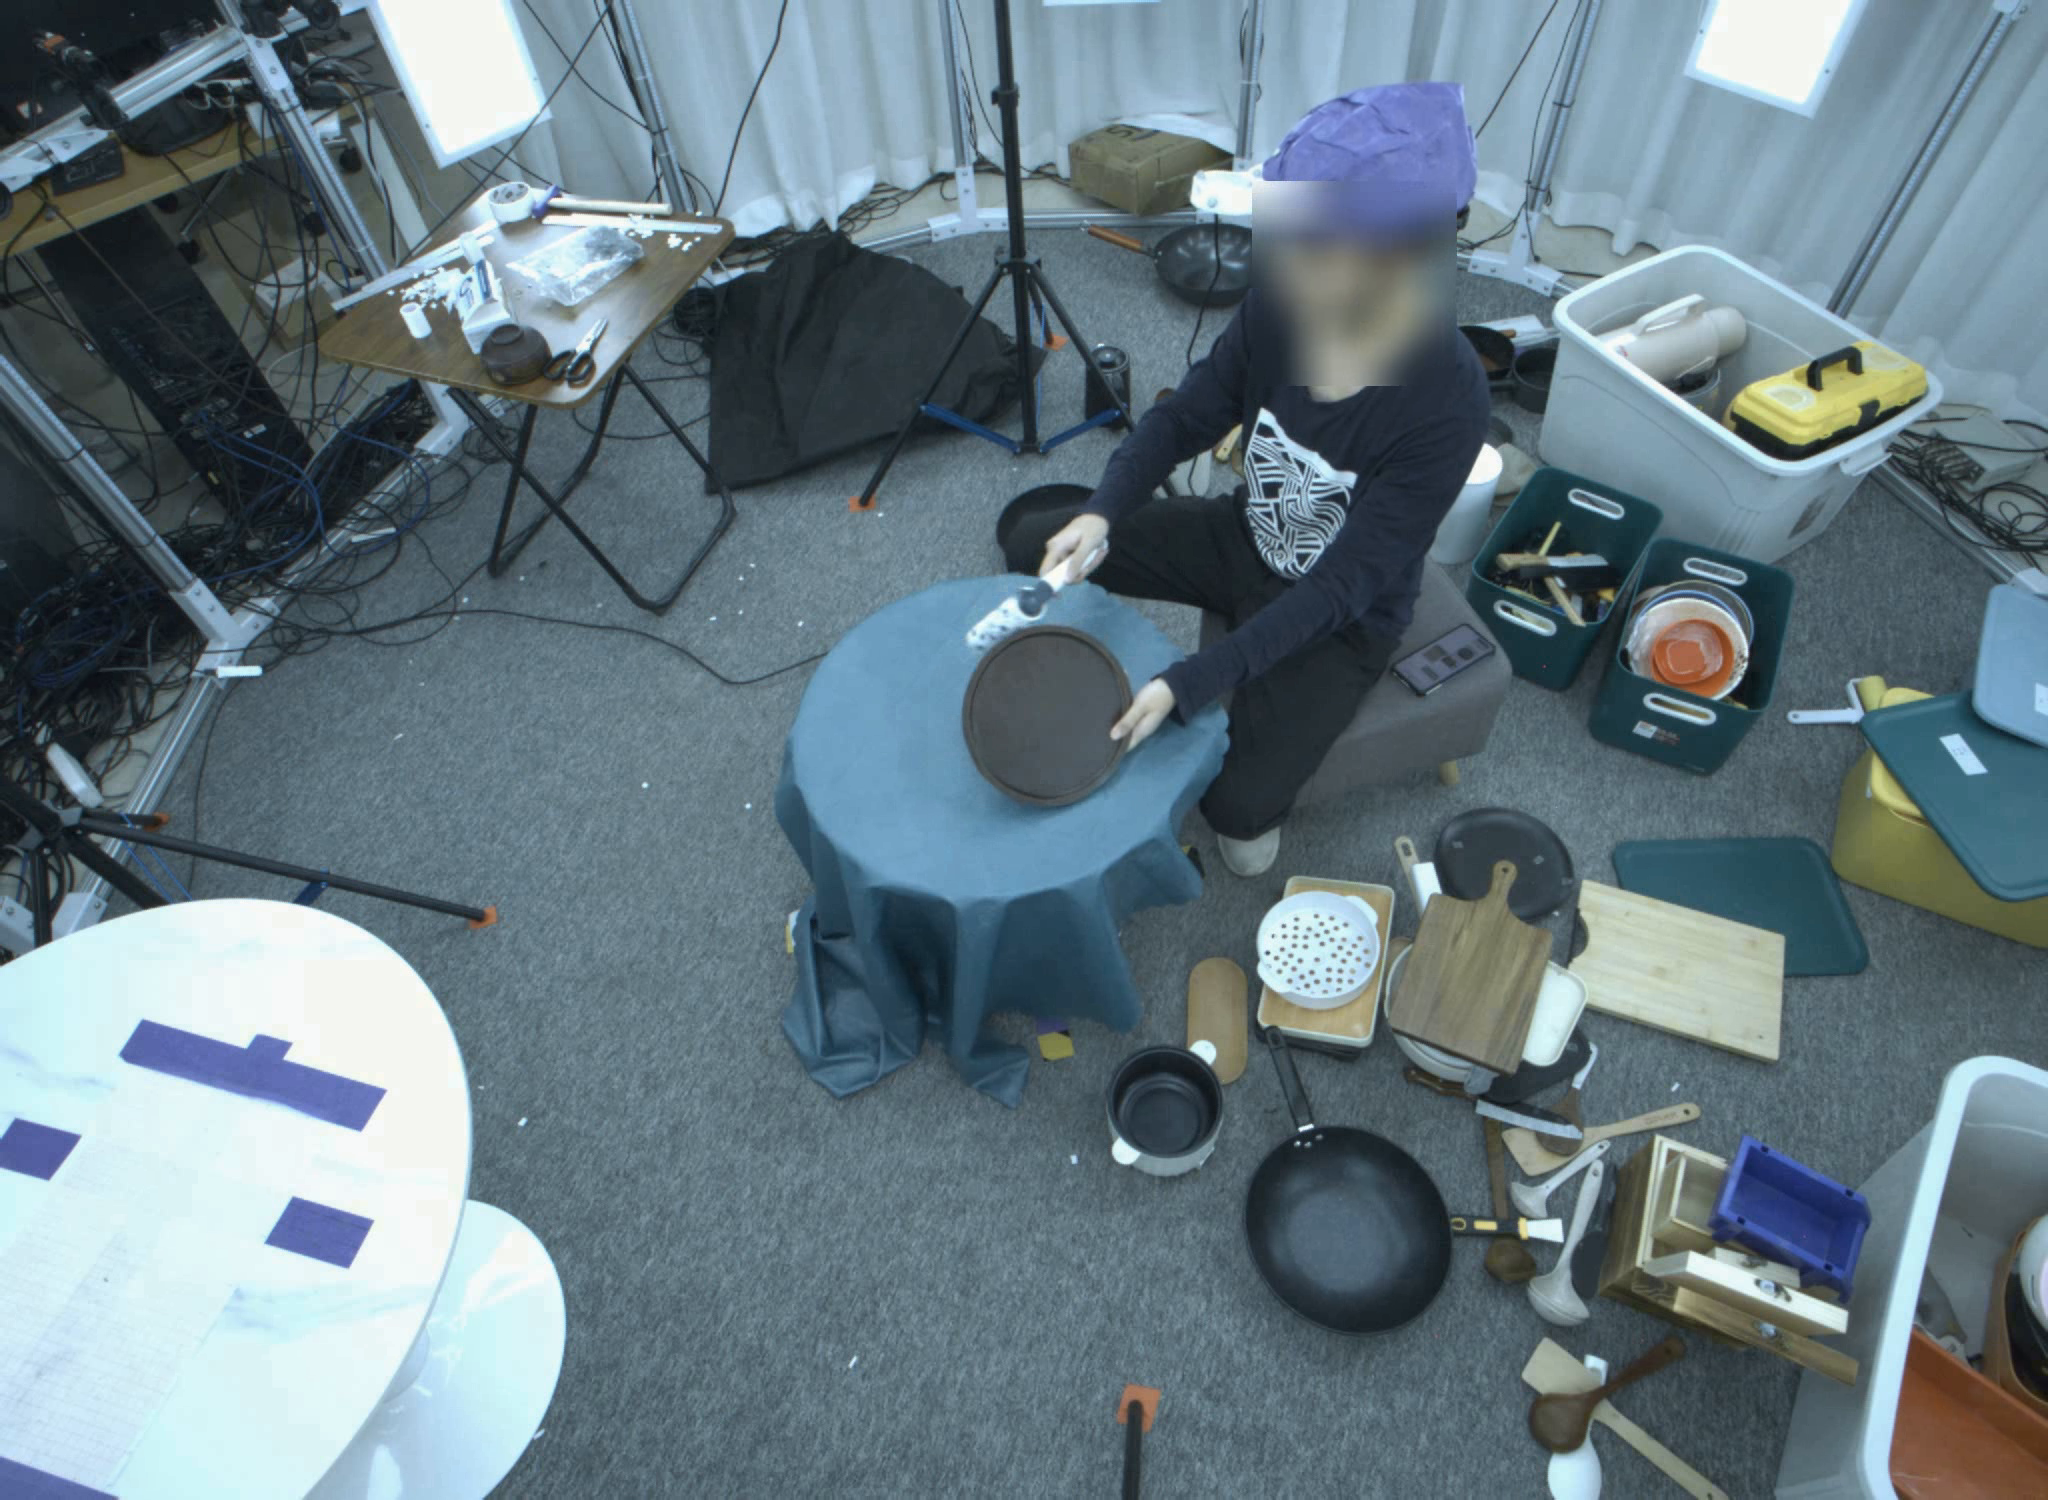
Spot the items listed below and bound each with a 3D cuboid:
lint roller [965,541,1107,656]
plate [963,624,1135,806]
[{"bbox_3d":[0.031,-0.238,1.767,0.050,0.174,0.249,50,60,-5],"label":"lint roller"},{"bbox_3d":[0.035,-0.048,1.717,0.257,0.257,0.028,-28,15,-17],"label":"plate"}]
